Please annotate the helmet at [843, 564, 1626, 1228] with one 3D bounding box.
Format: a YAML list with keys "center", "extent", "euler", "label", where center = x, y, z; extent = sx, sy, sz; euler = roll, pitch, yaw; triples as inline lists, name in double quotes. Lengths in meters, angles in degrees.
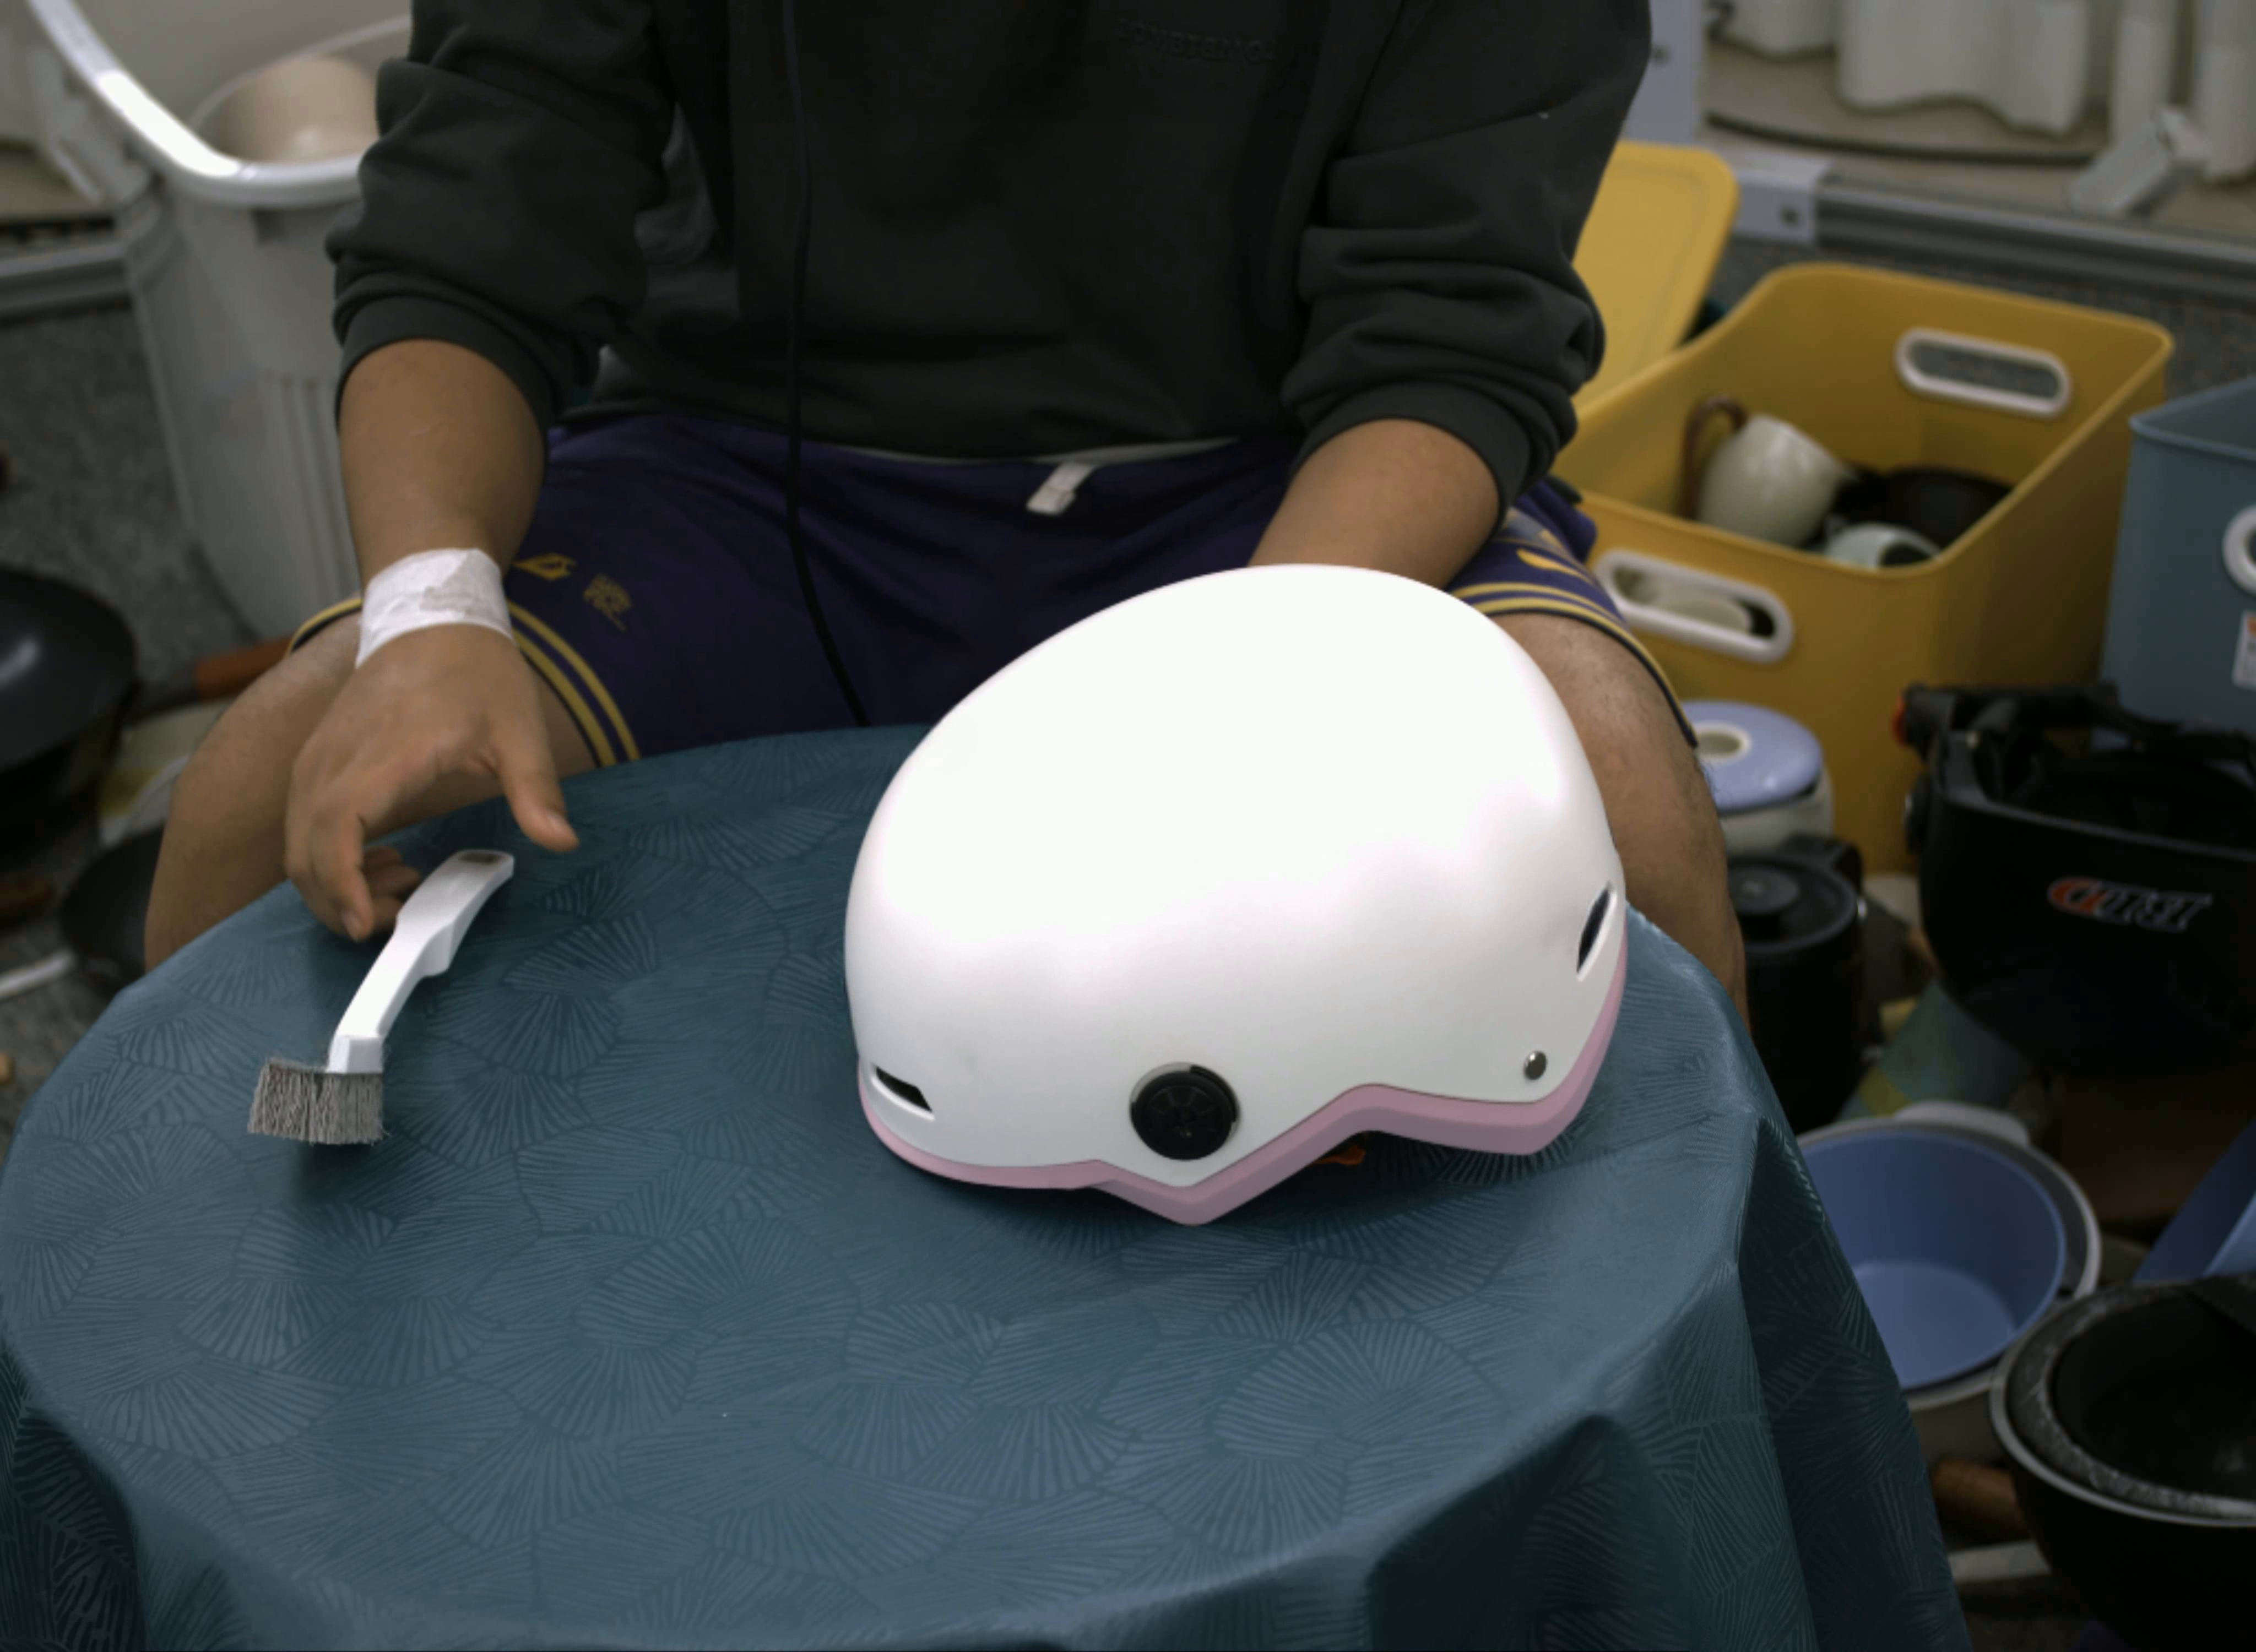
- center: [0.031, 0.006, 1.891]
  extent: [0.267, 0.165, 0.241]
  euler: [-6, 31, 0]
  label: "helmet"

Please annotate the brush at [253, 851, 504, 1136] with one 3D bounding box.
- center: [-0.259, 0.062, 1.976]
  extent: [0.034, 0.050, 0.246]
  euler: [5, 16, 7]
  label: "brush"
